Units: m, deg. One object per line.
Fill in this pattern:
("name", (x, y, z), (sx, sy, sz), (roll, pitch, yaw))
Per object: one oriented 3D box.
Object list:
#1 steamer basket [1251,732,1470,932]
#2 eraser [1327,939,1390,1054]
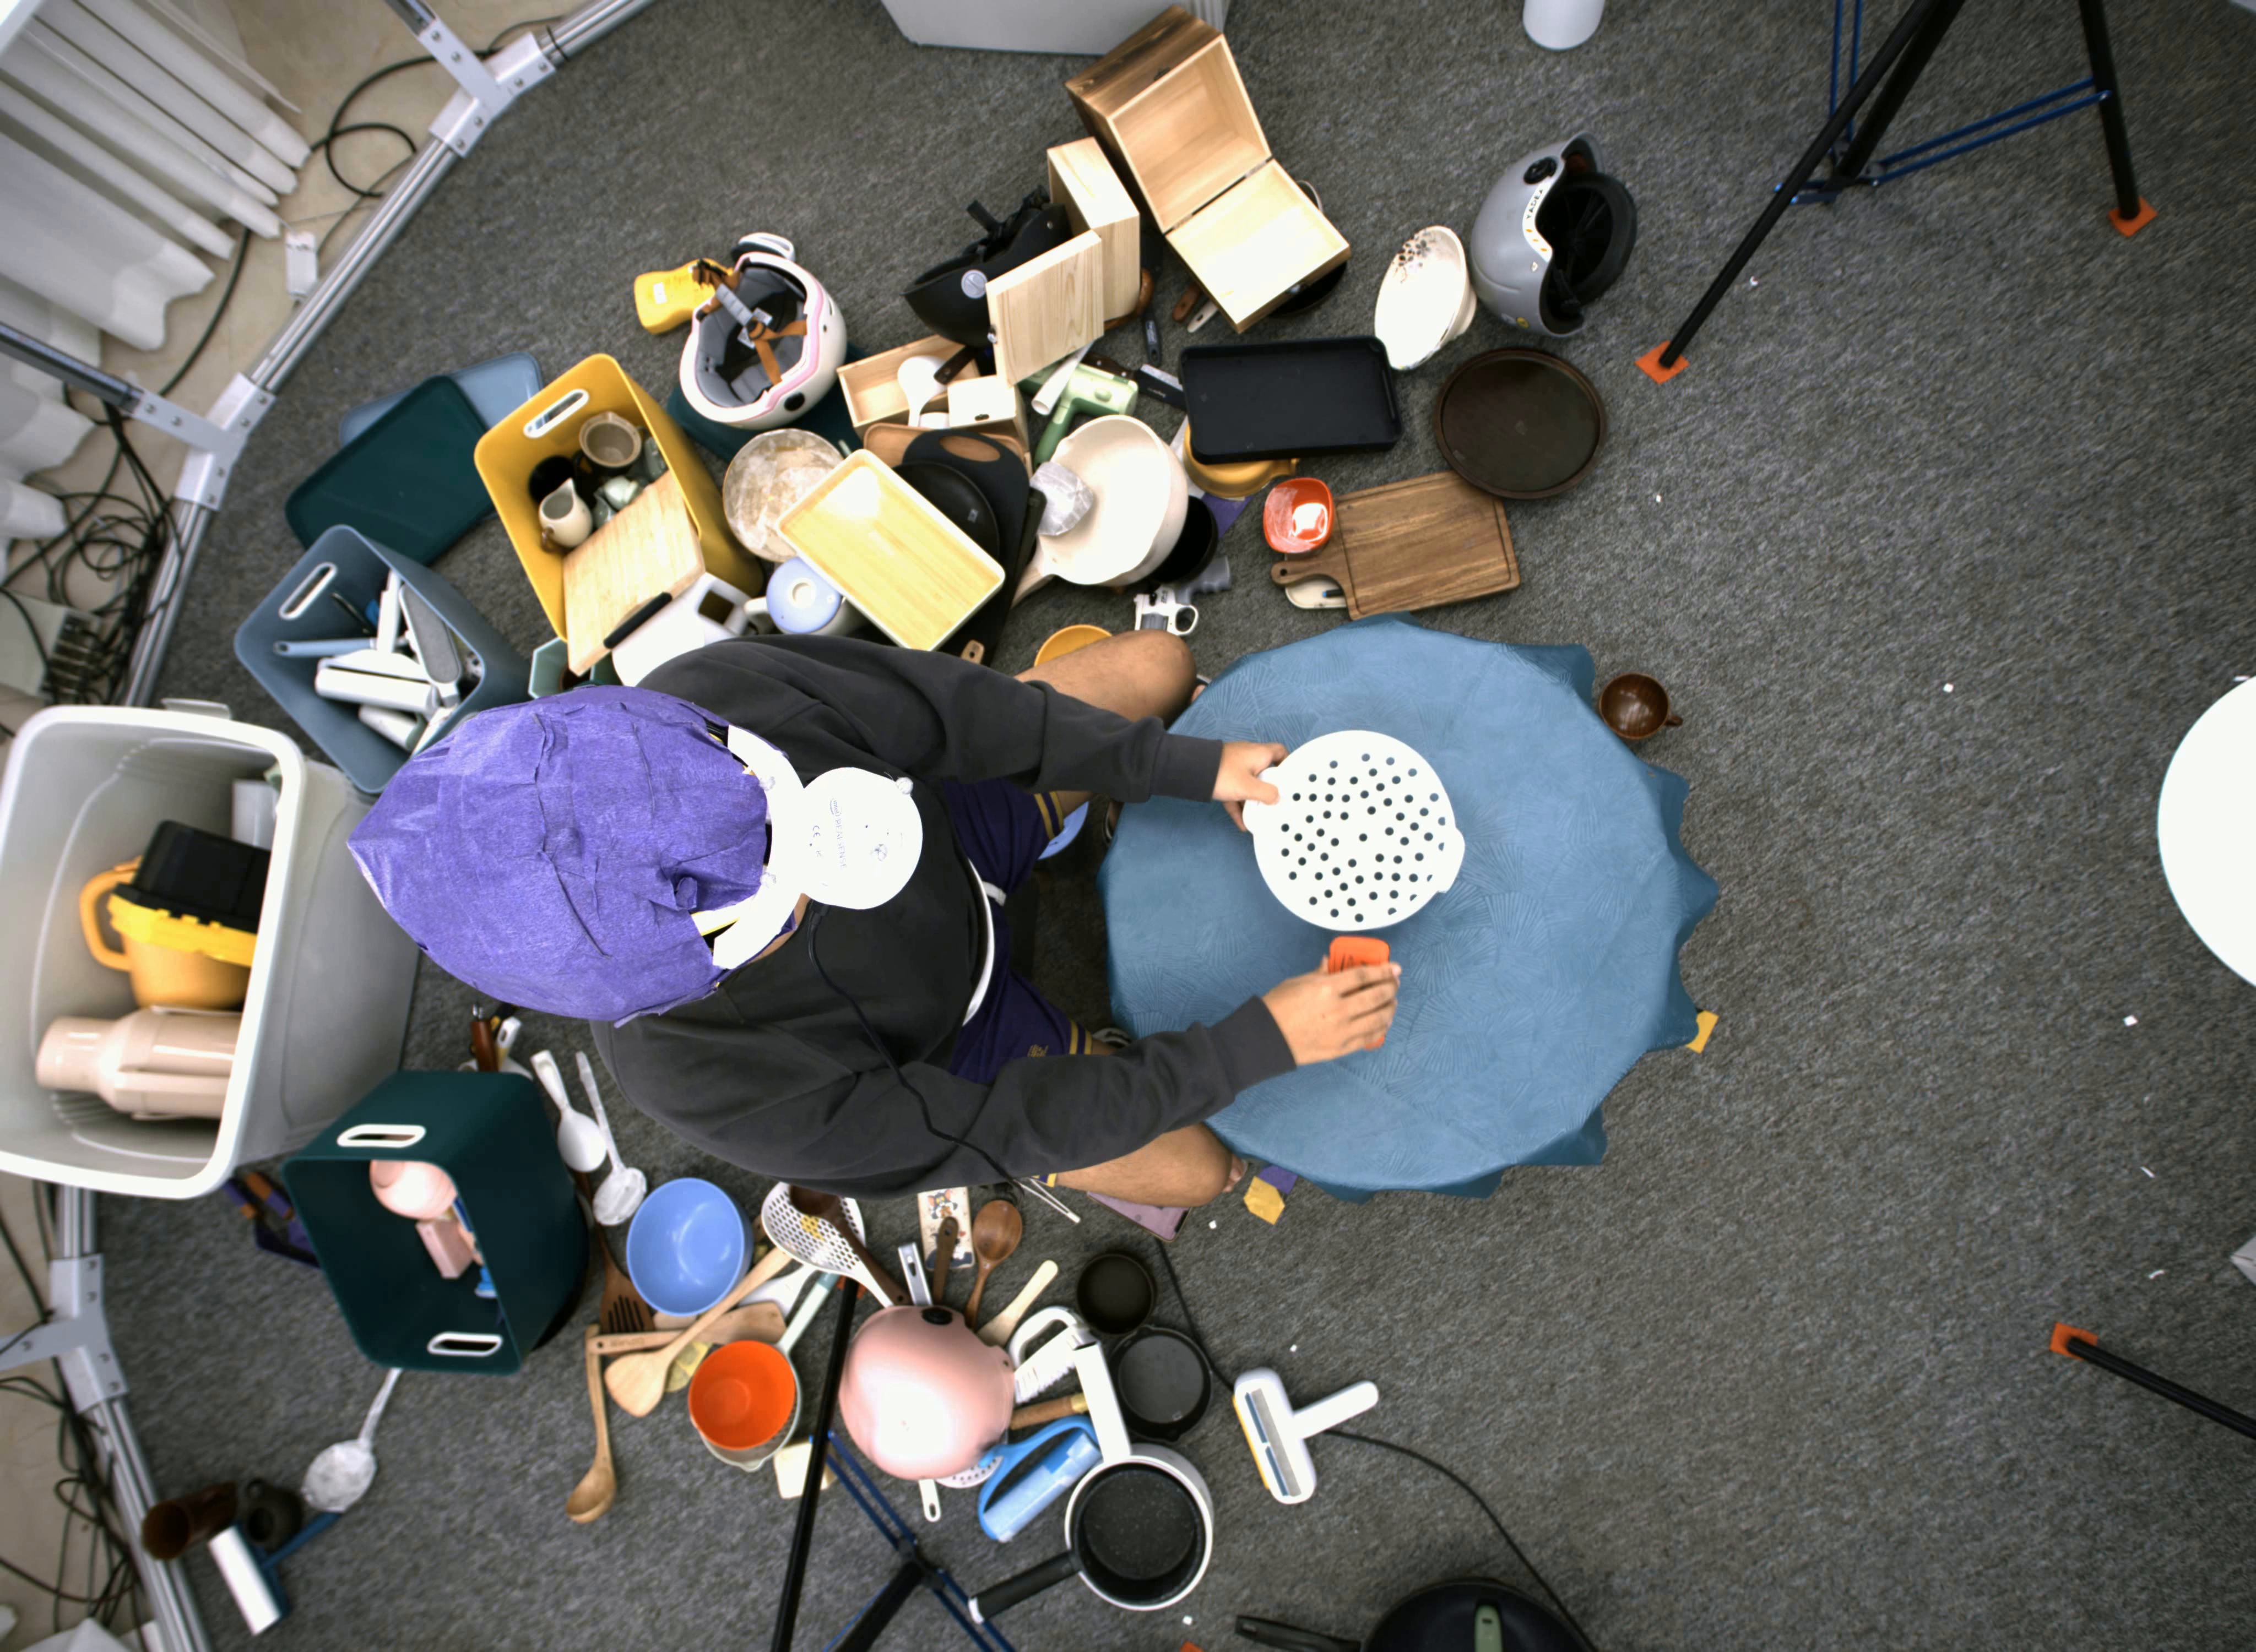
("steamer basket", (0.241, 0.007, 1.407), (0.230, 0.069, 0.203), (20, 96, 26))
("eraser", (0.227, 0.167, 1.366), (0.059, 0.022, 0.109), (7, 106, 26))
